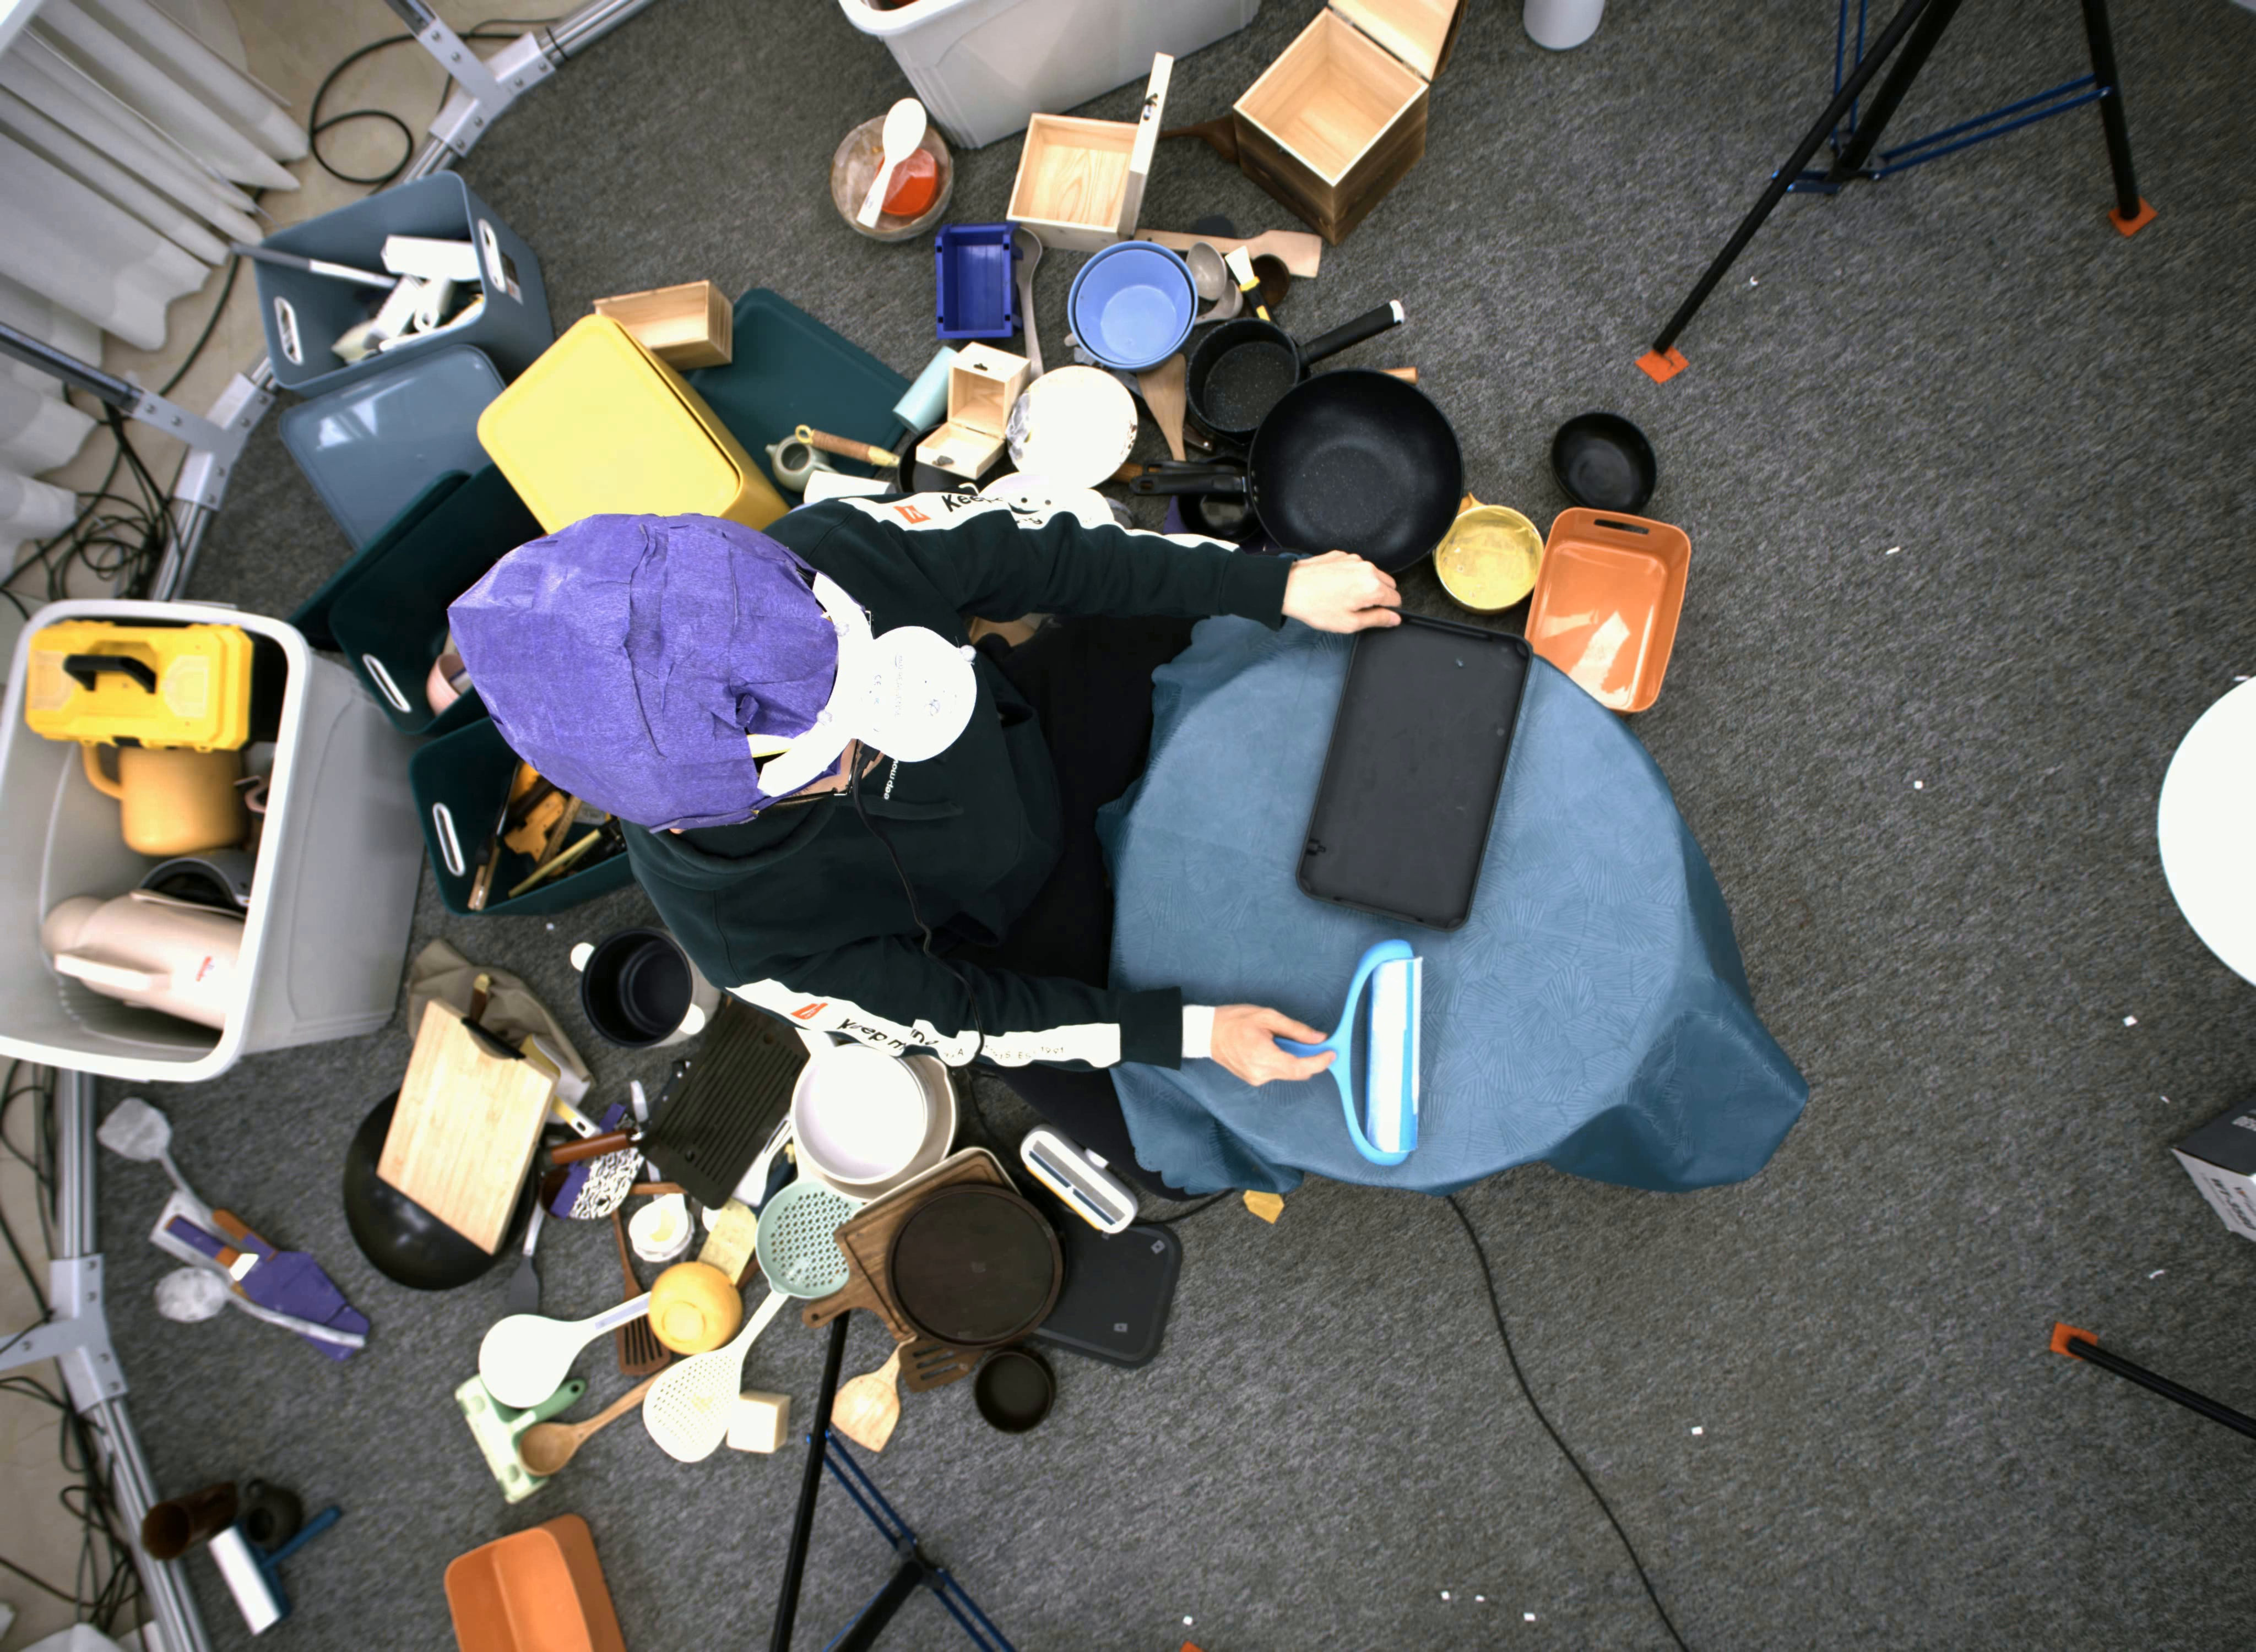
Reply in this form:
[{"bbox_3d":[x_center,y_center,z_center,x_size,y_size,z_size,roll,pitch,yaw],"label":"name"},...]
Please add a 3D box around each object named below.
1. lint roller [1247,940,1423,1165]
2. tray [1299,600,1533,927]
[{"bbox_3d":[0.213,0.231,1.414,0.181,0.067,0.229,-1,93,4],"label":"lint roller"},{"bbox_3d":[0.300,-0.067,1.436,0.184,0.037,0.318,13,93,11],"label":"tray"}]
